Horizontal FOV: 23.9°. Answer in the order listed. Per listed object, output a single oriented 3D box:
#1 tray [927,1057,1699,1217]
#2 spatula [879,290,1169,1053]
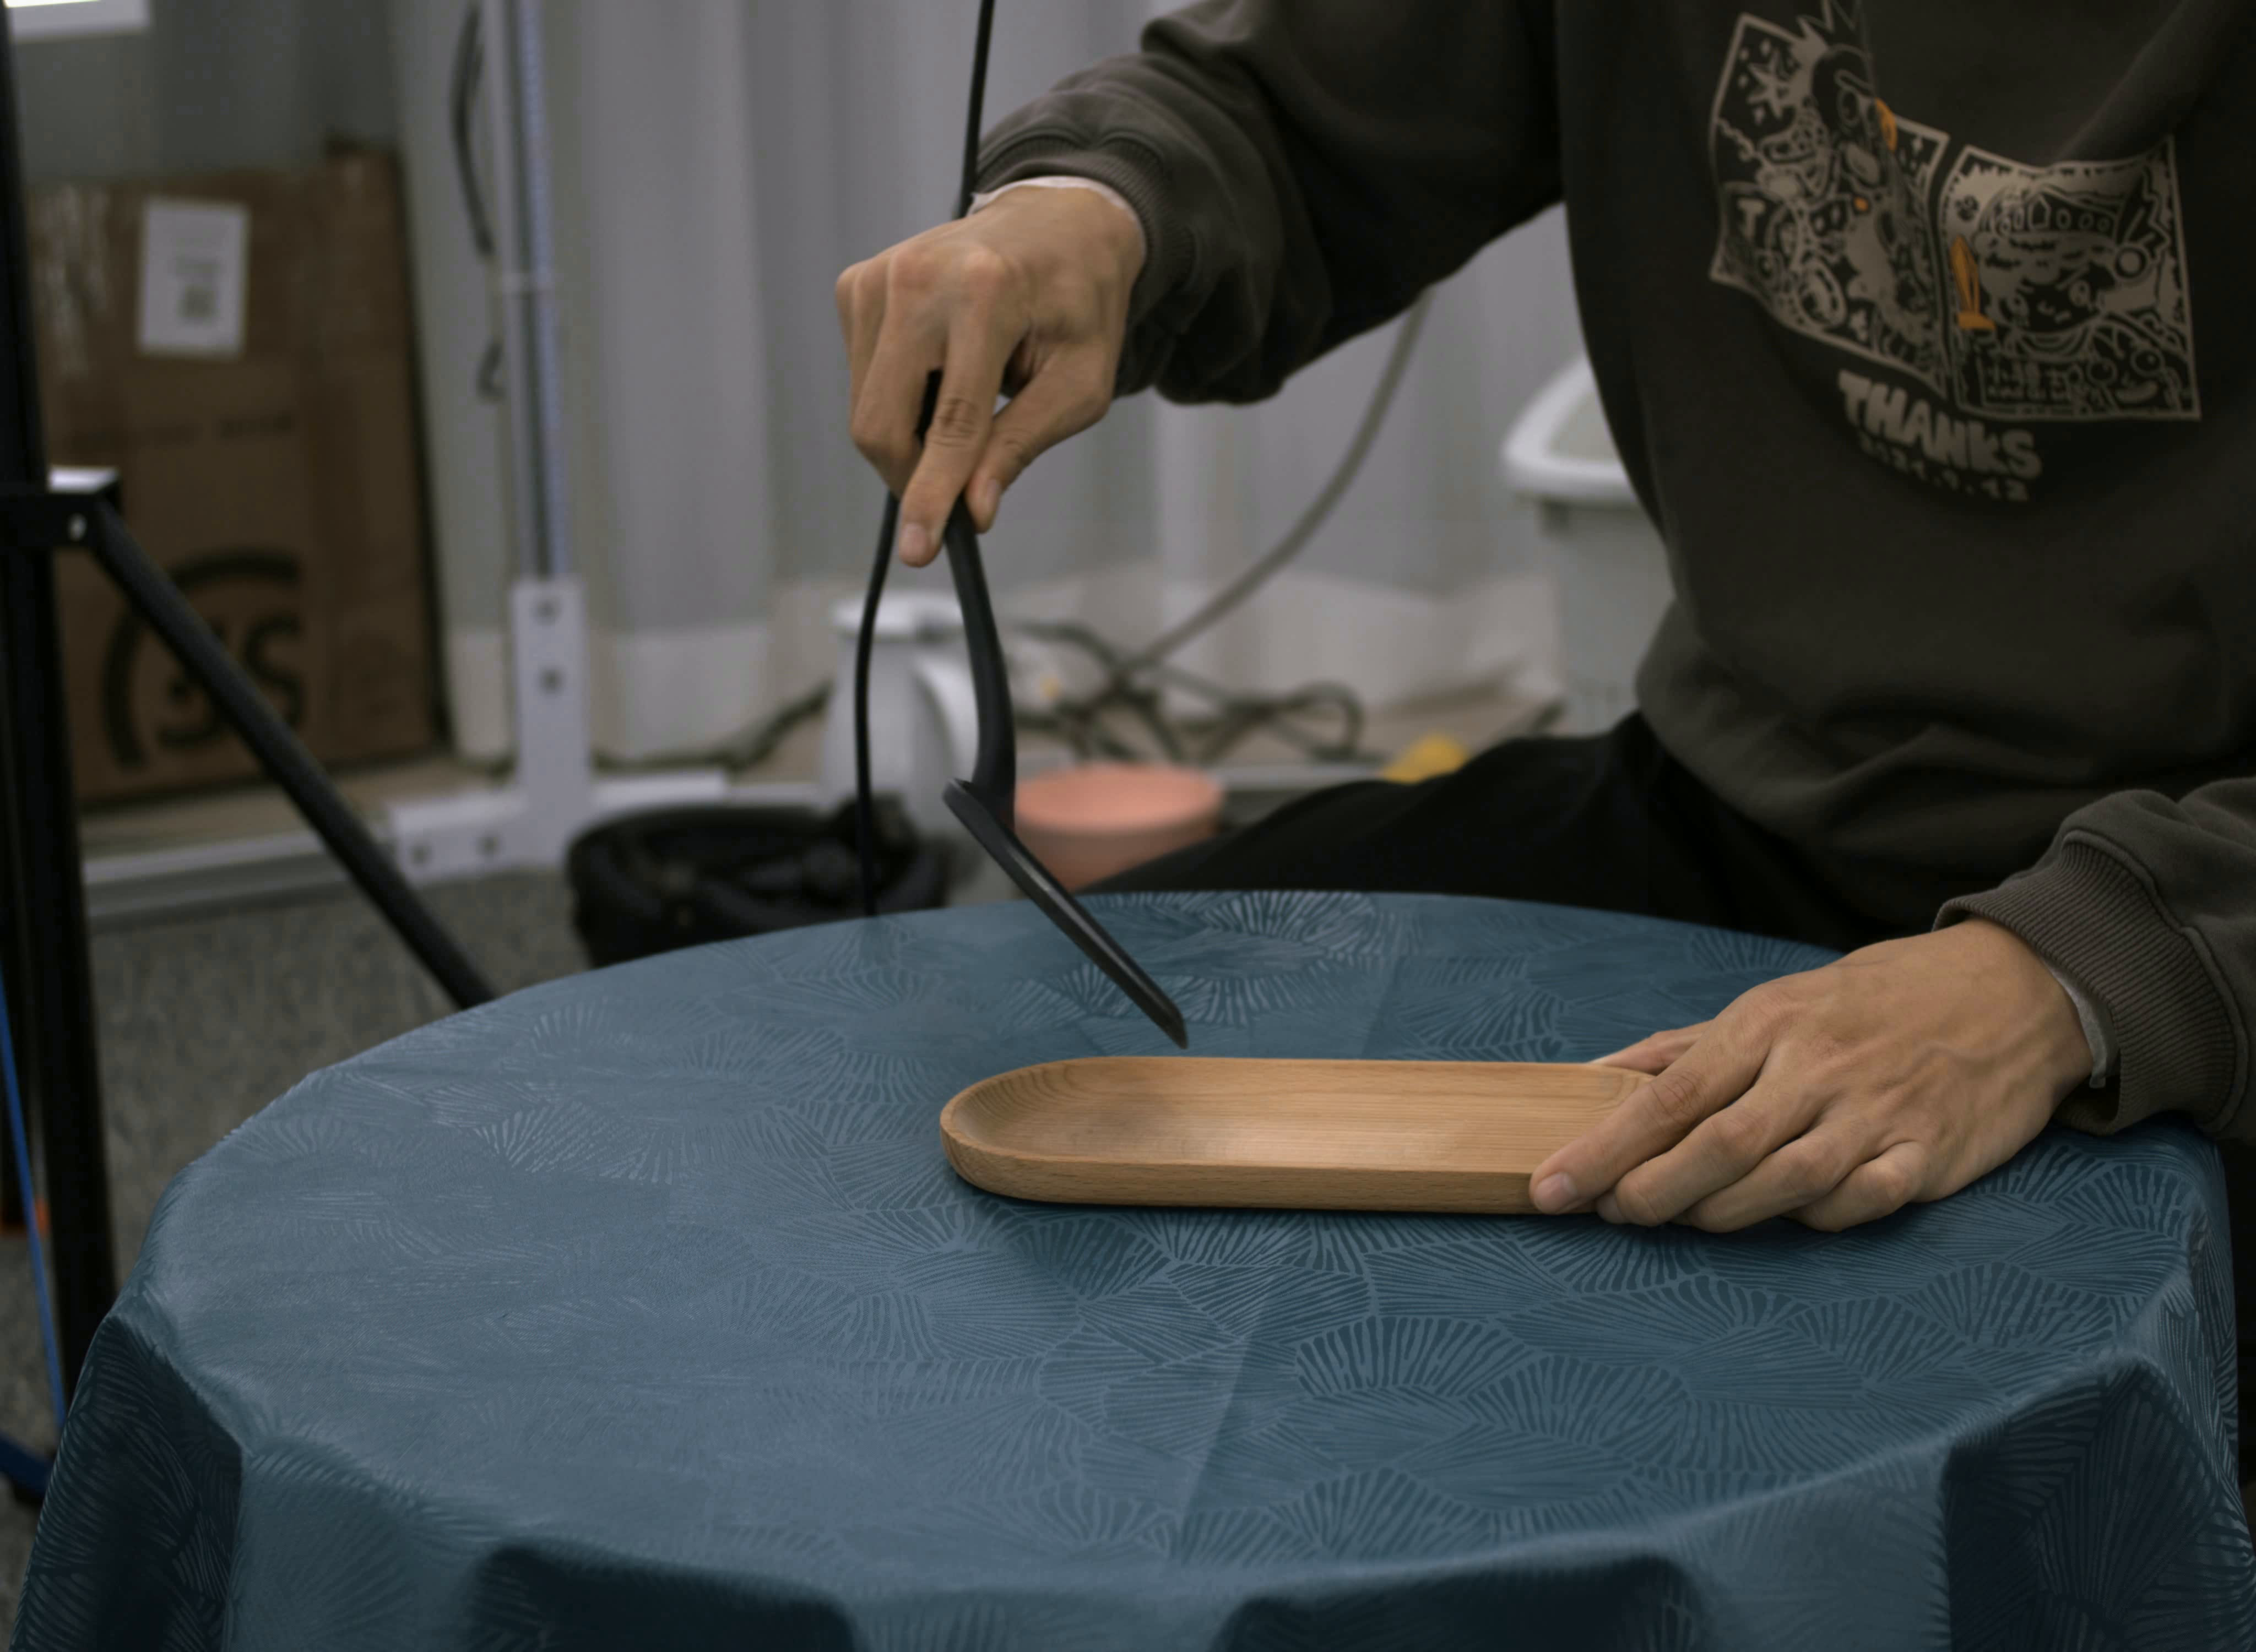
[{"bbox_3d":[0.054,0.093,1.578,0.232,0.020,0.101,0,15,13],"label":"tray"},{"bbox_3d":[-0.045,-0.064,1.664,0.040,0.097,0.331,-26,45,16],"label":"spatula"}]
